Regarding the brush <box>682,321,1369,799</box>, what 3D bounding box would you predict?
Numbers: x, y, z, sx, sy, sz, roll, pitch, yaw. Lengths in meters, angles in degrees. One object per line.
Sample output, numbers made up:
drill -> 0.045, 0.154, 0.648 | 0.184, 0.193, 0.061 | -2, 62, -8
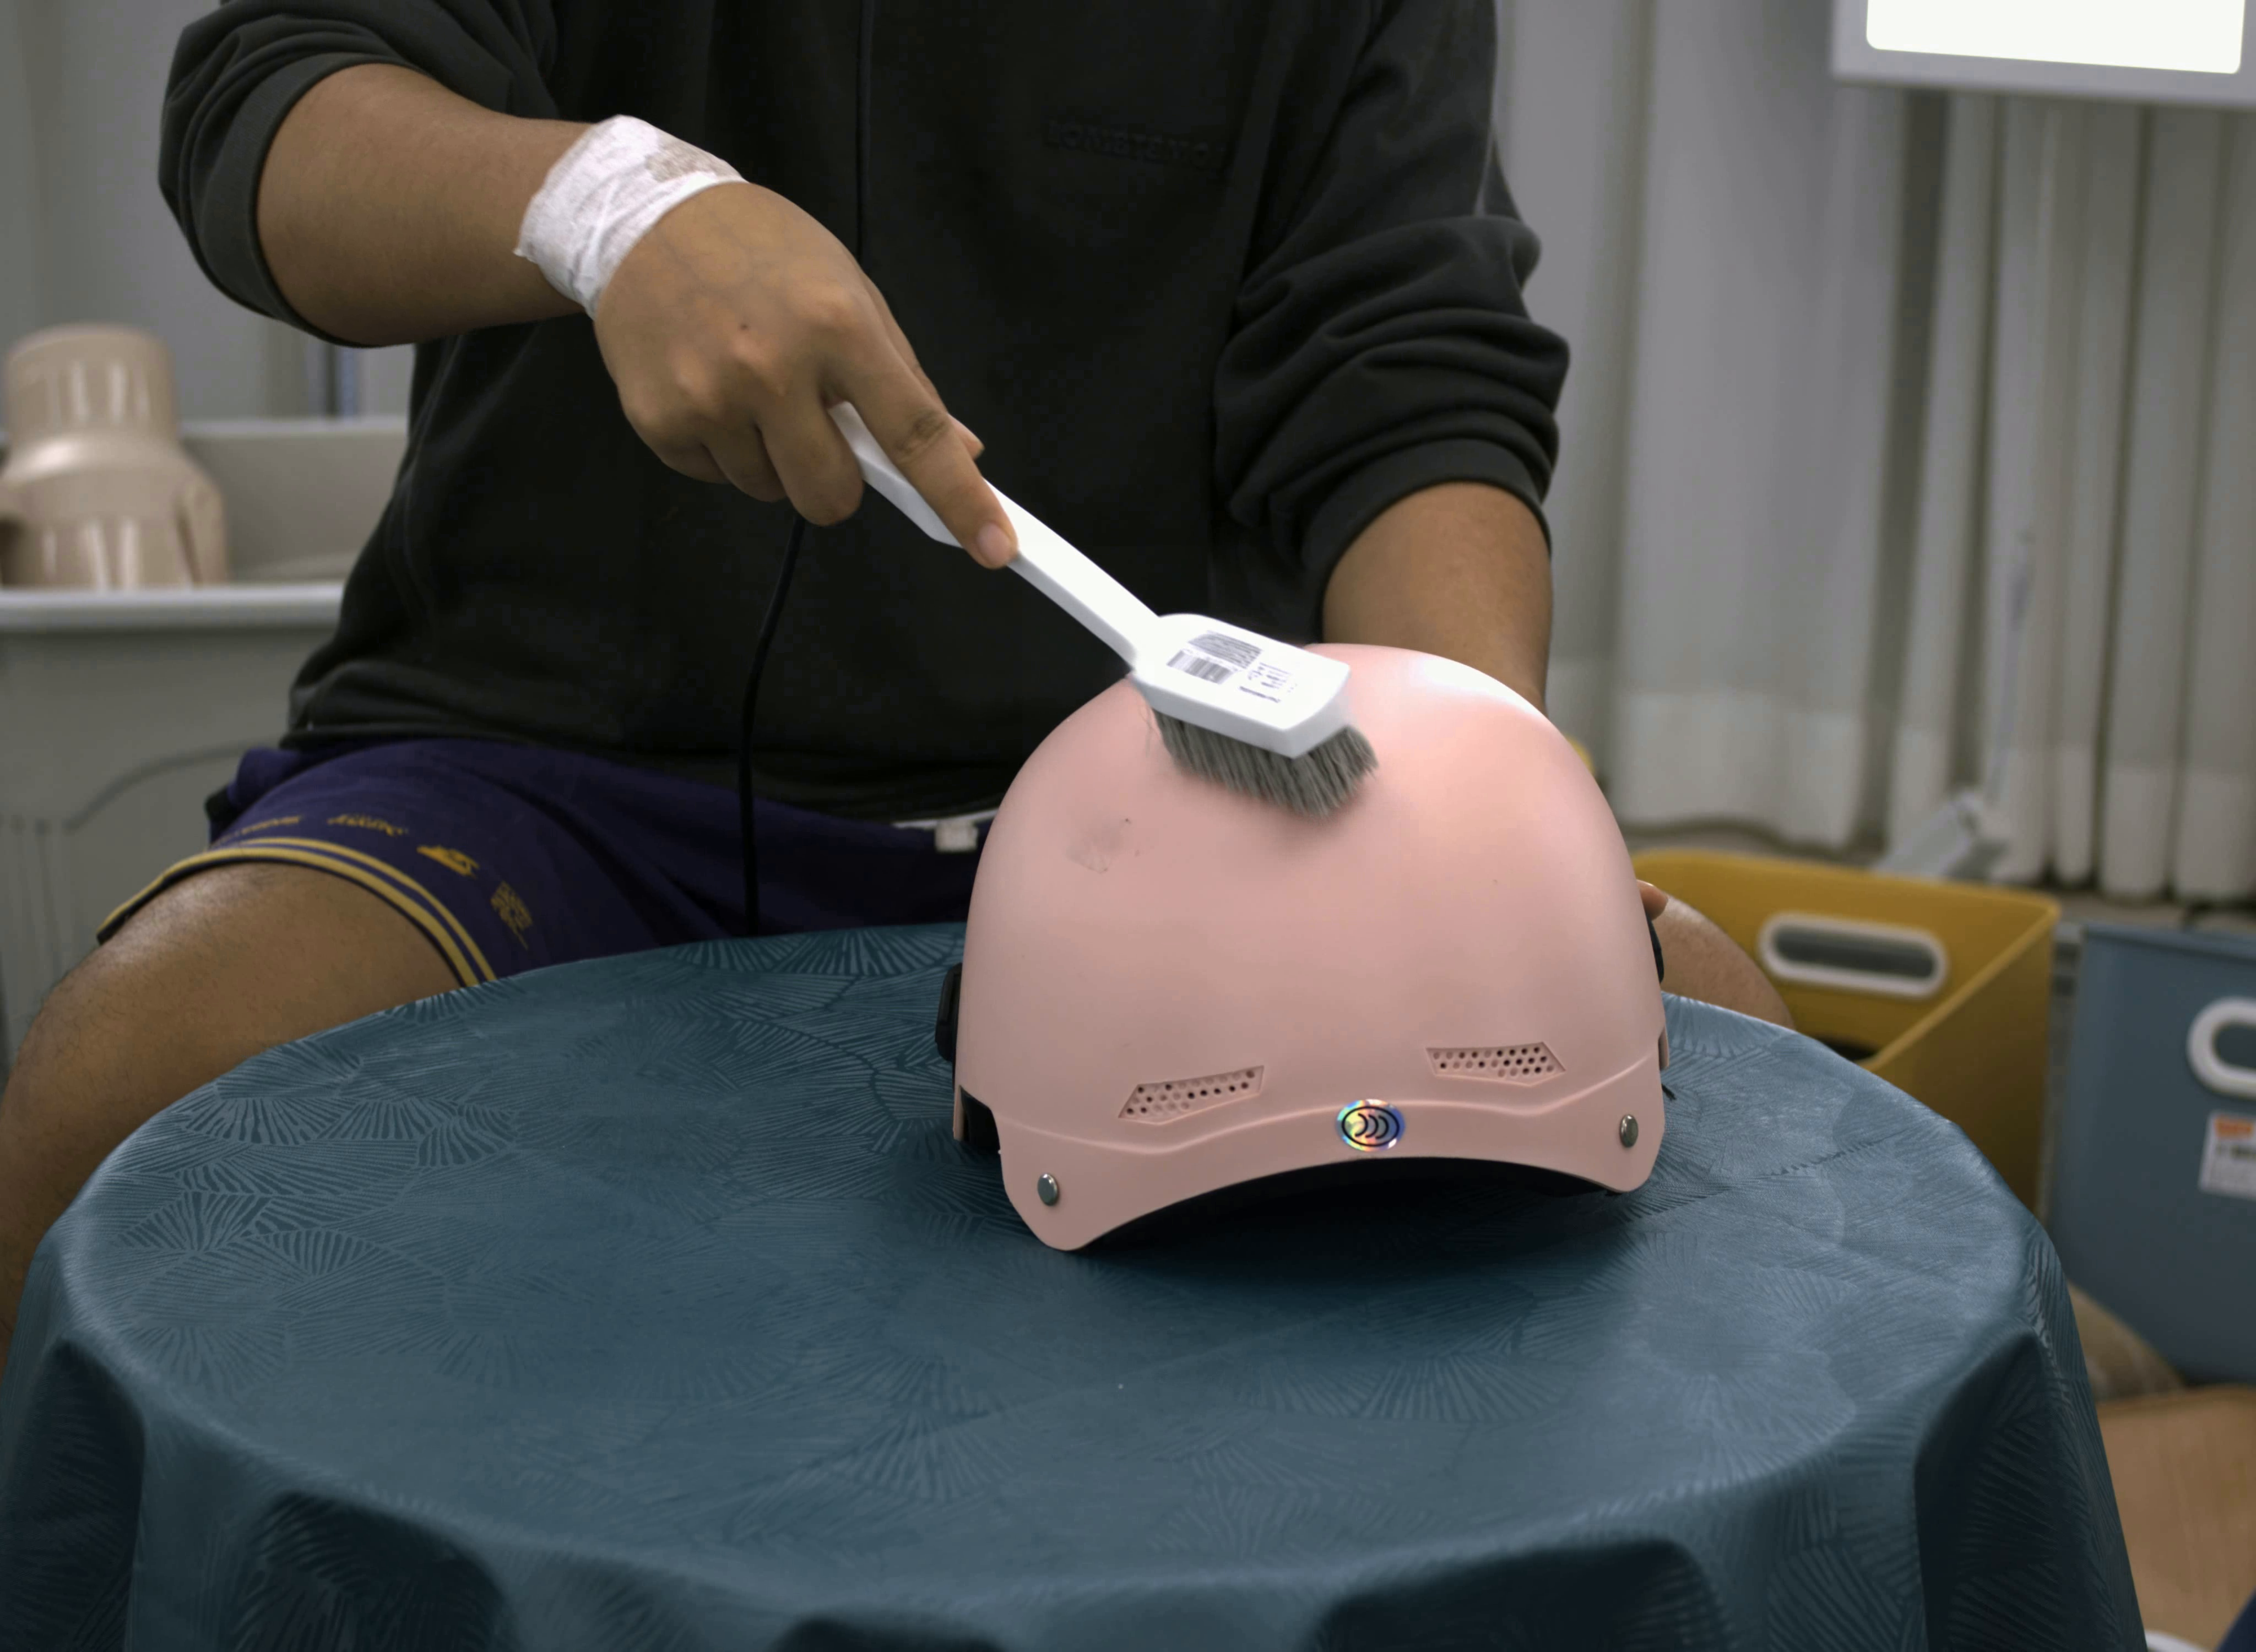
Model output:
brush -> -0.034, -0.078, 1.561 | 0.241, 0.051, 0.034 | 30, 55, 18

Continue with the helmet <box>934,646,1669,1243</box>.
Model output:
helmet -> 0.052, 0.022, 1.642 | 0.233, 0.160, 0.264 | -6, 12, -4
